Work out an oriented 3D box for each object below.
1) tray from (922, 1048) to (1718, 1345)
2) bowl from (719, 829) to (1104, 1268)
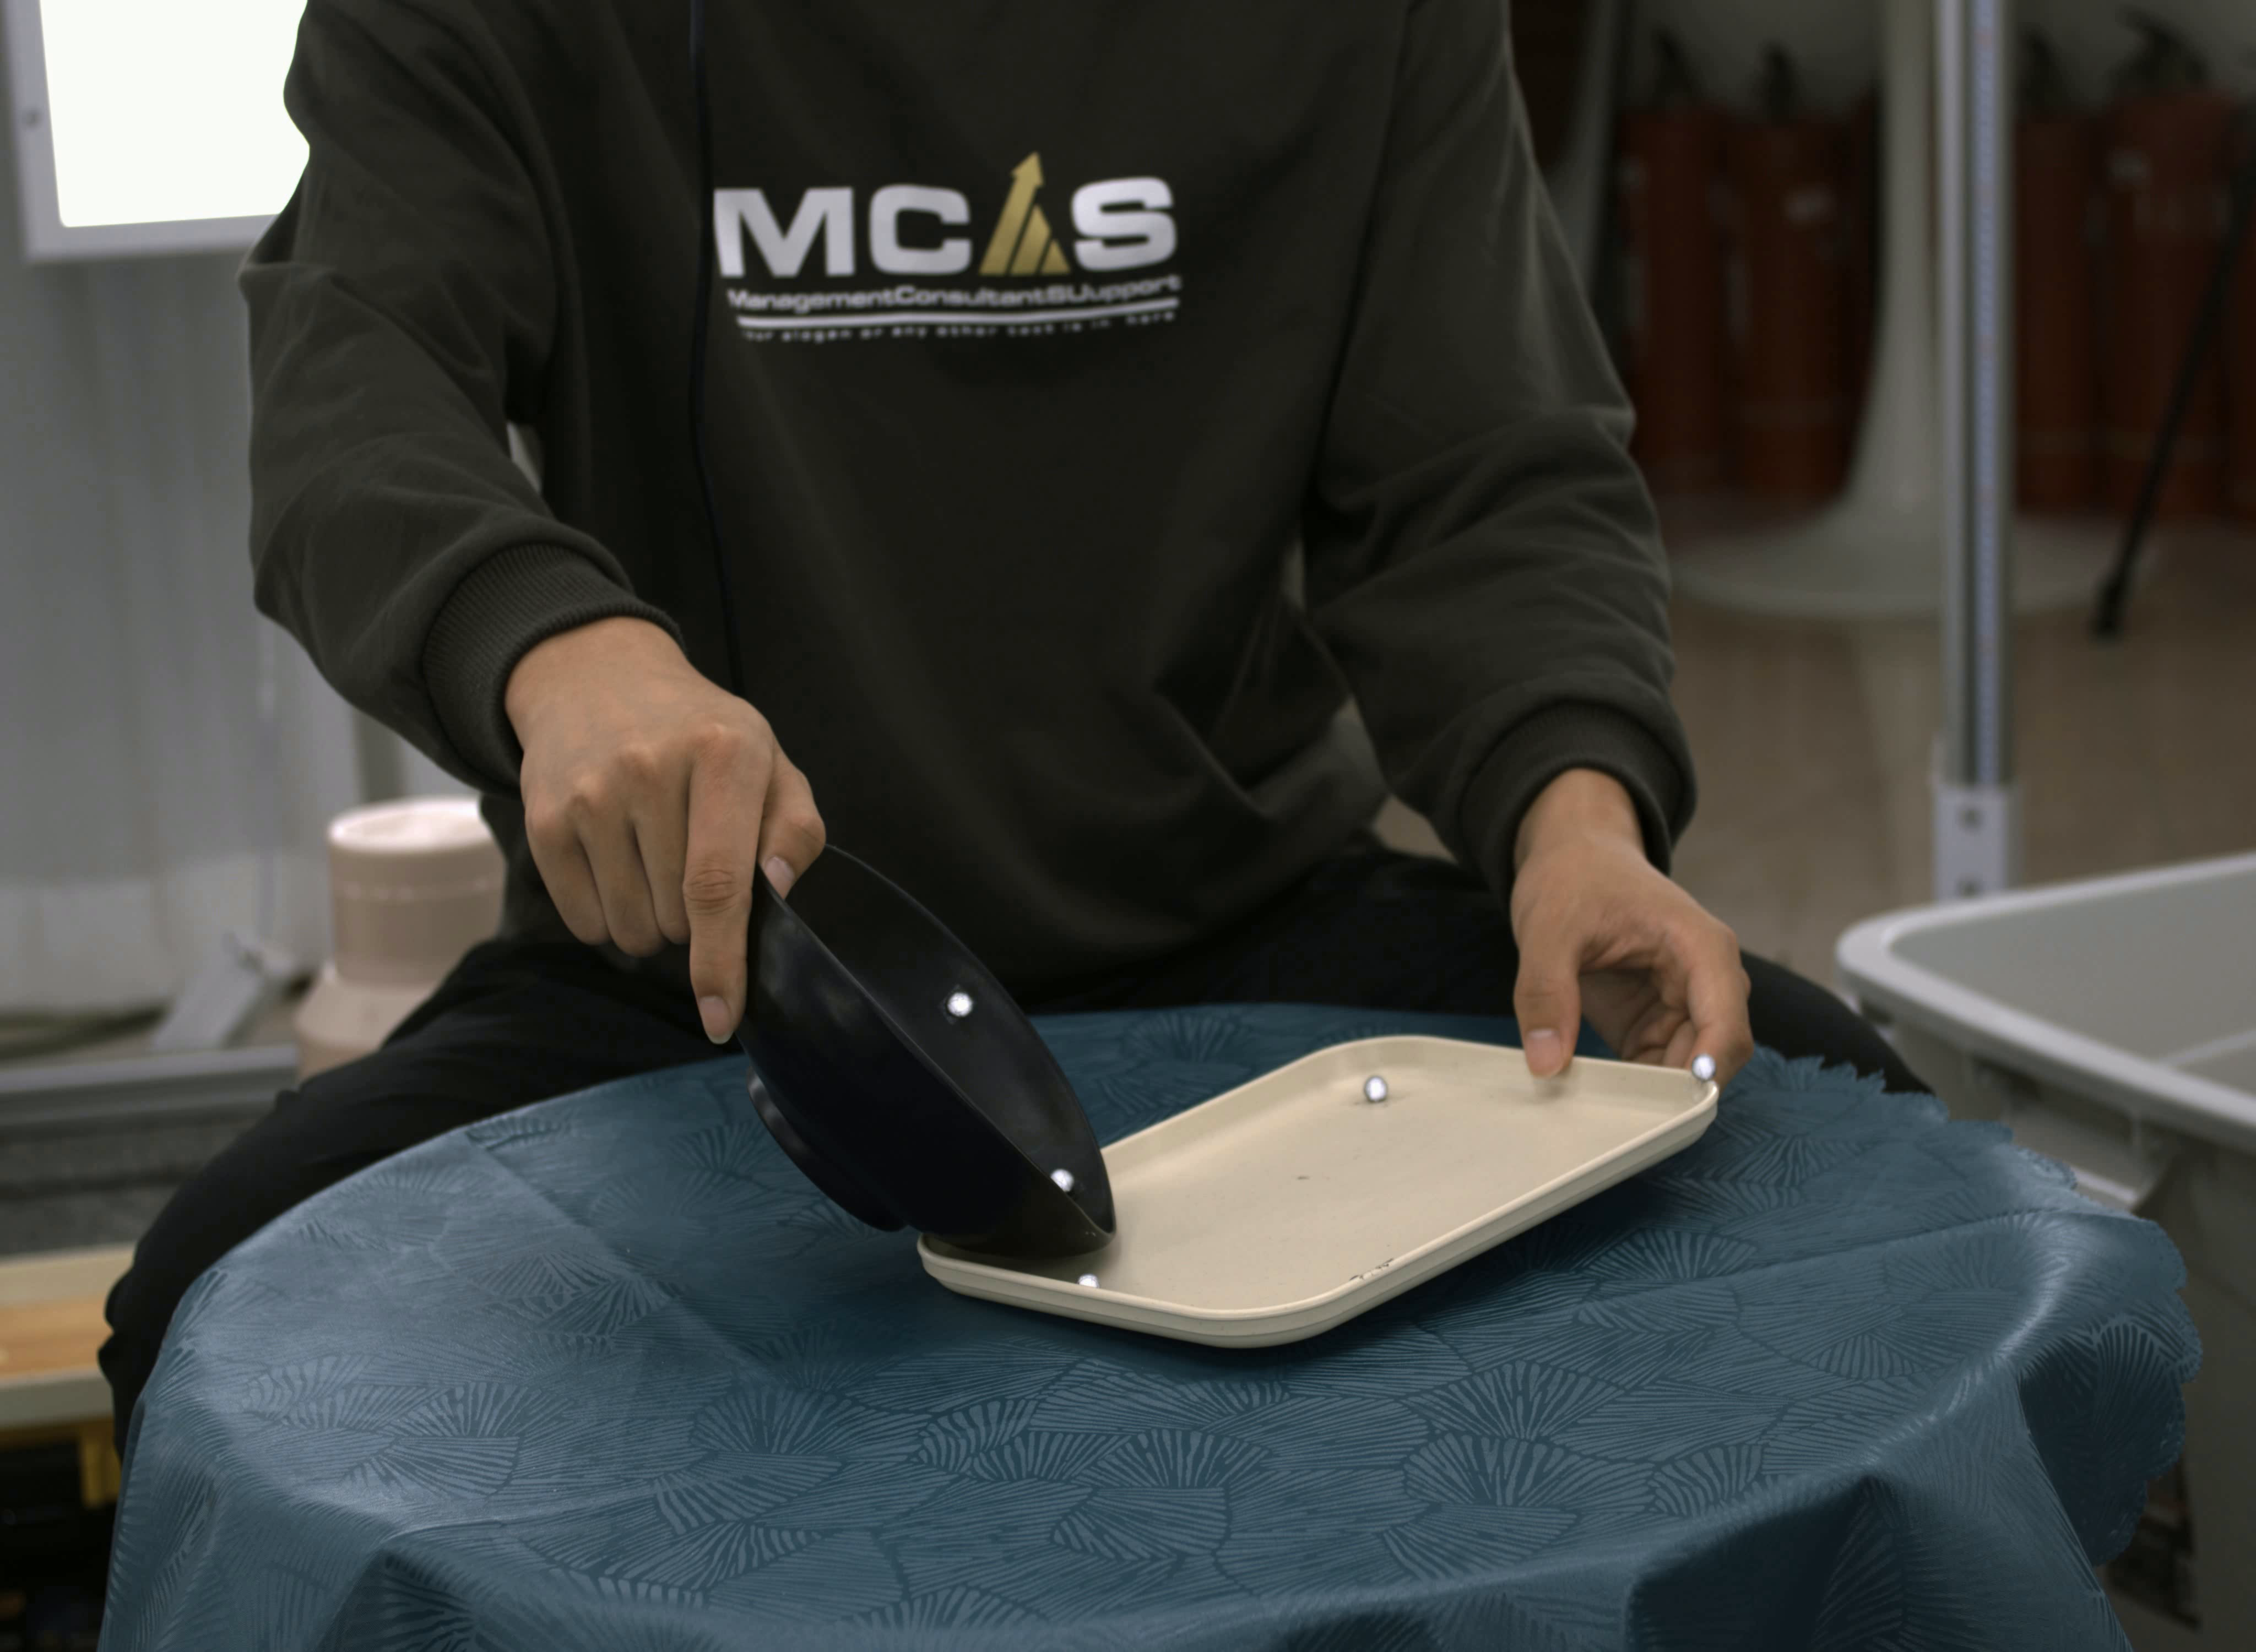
[{"bbox_3d":[0.063,0.116,1.709,0.173,0.017,0.235,3,18,45],"label":"tray"},{"bbox_3d":[-0.075,0.081,1.687,0.067,0.170,0.137,-42,9,11],"label":"bowl"}]
